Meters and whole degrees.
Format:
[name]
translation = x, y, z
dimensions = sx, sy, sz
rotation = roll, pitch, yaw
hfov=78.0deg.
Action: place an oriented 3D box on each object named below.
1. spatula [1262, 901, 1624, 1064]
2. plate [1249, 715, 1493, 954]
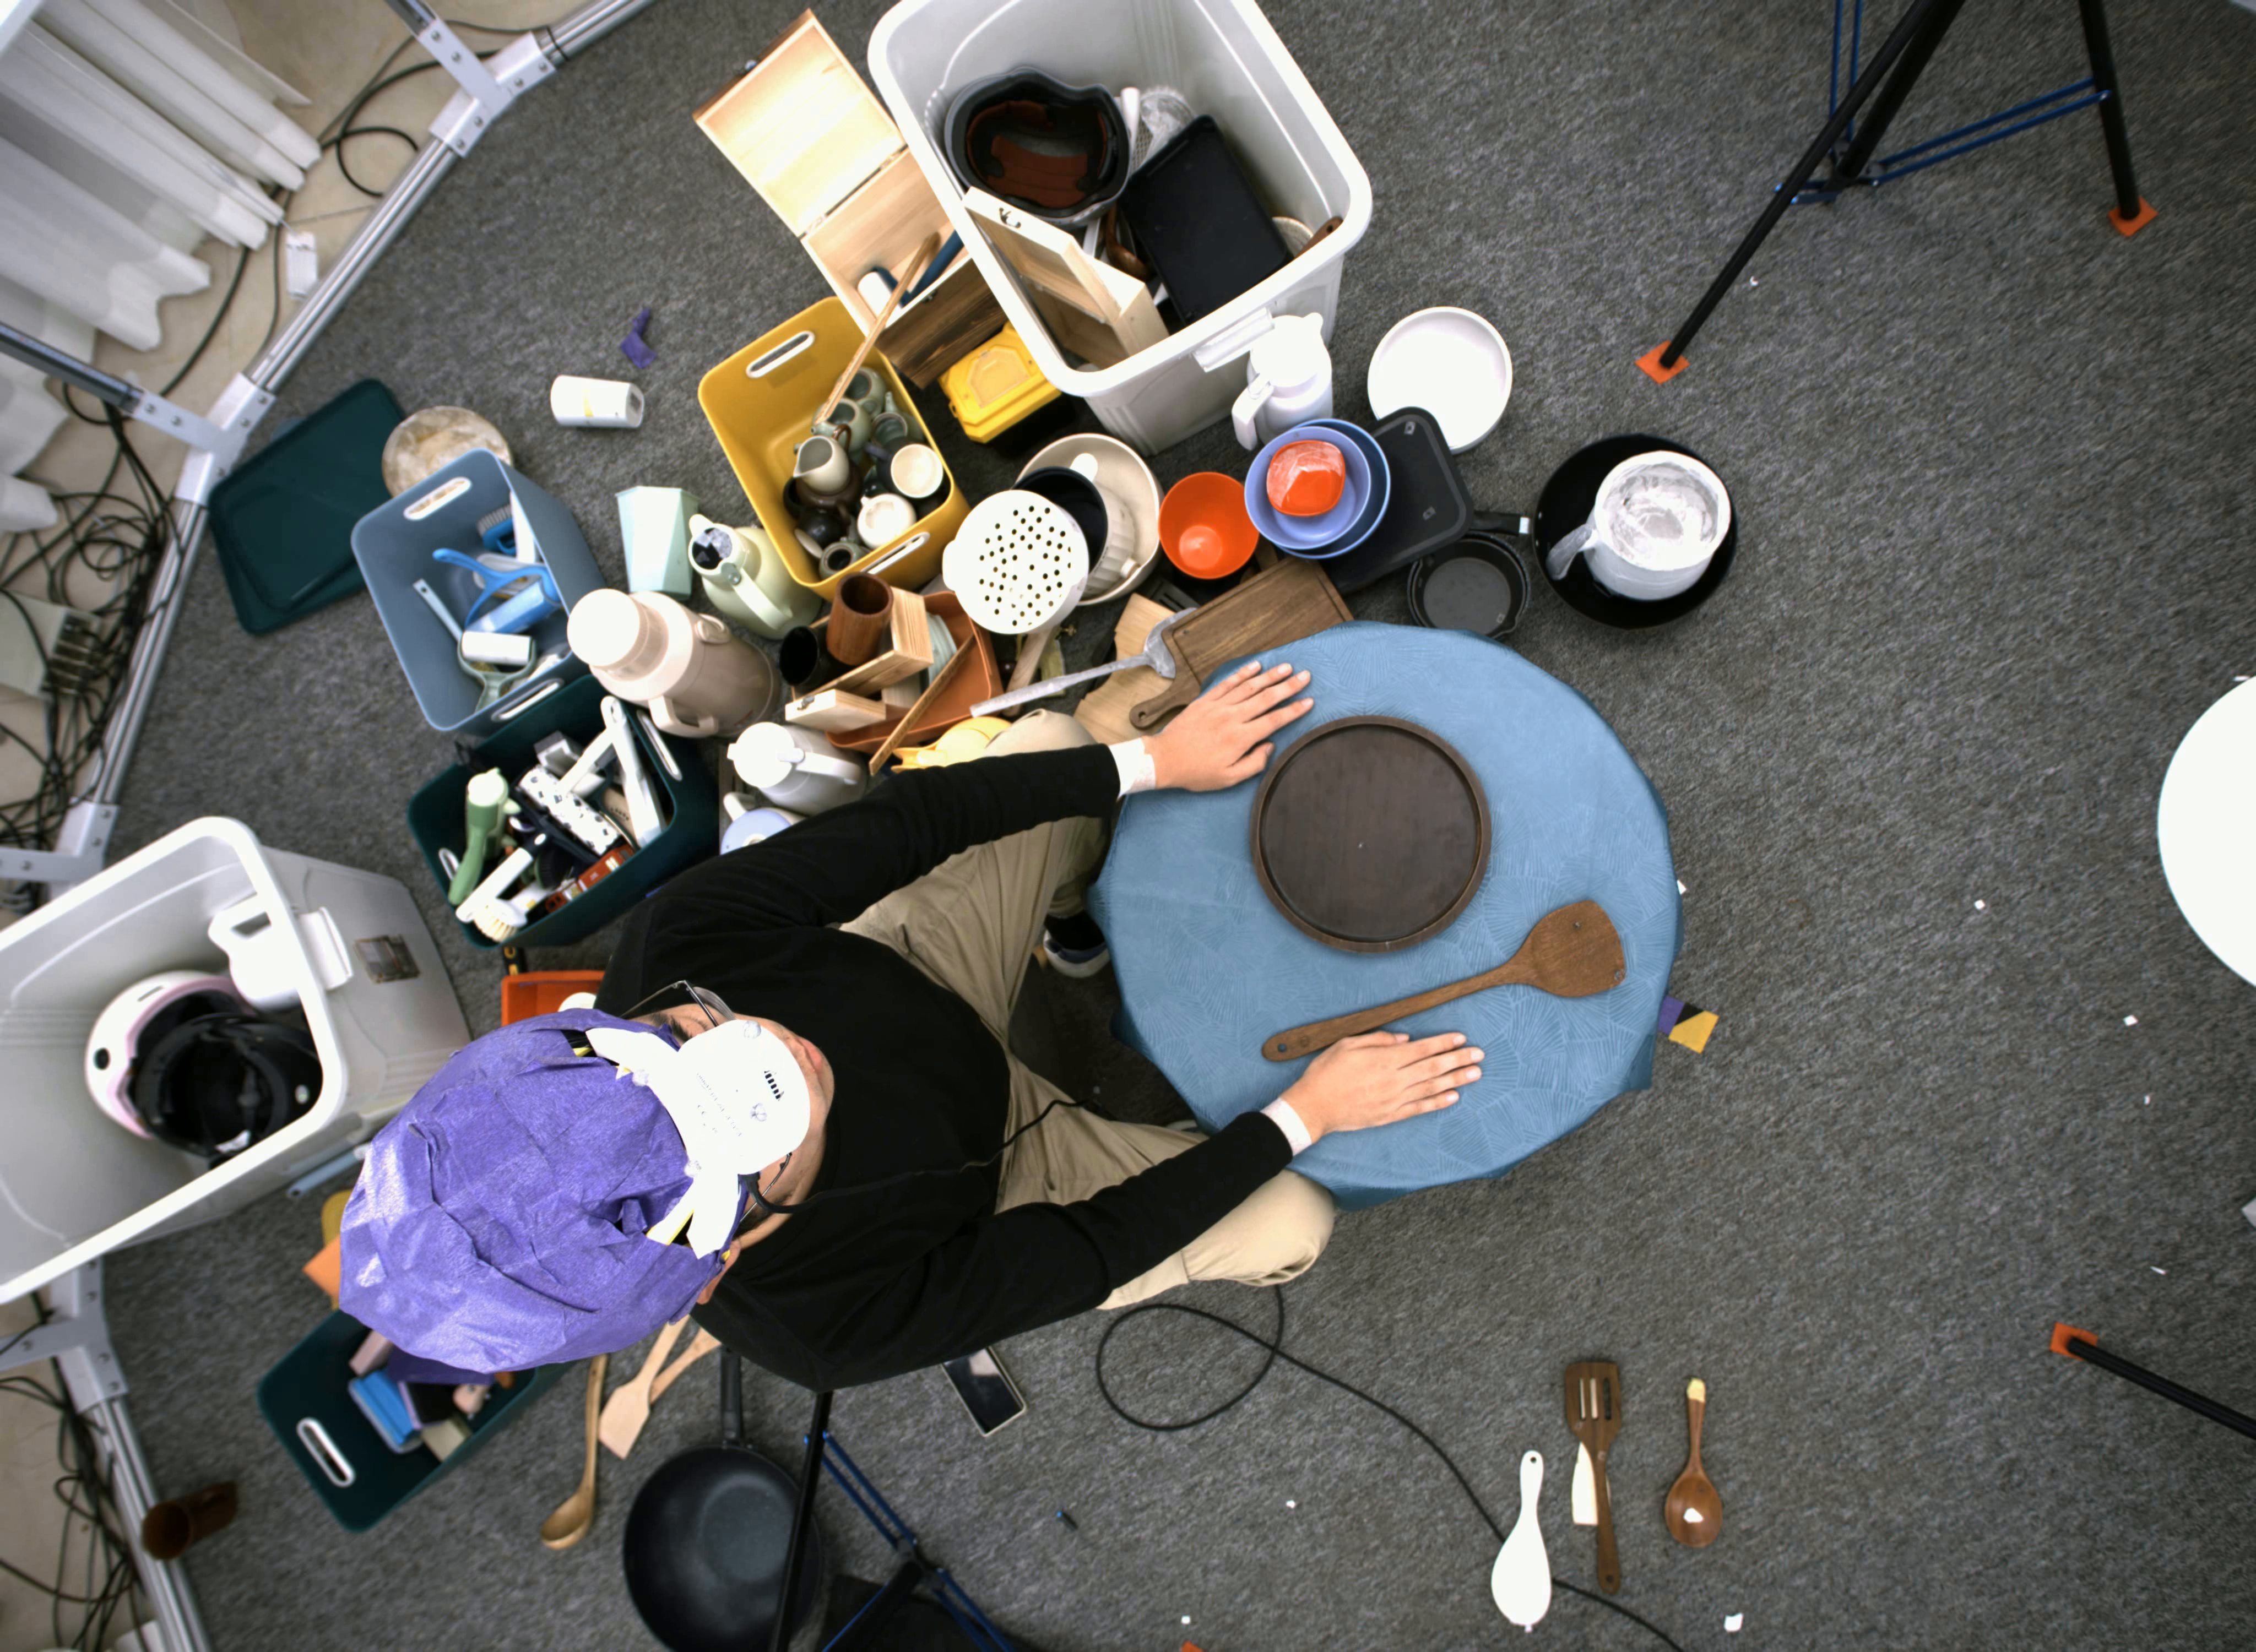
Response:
[spatula]
translation = 0.322, 0.177, 1.437
dimensions = 0.388, 0.016, 0.095
rotation = -20, 83, 9
[plate]
translation = 0.255, 0.007, 1.454
dimensions = 0.256, 0.029, 0.254
rotation = -1, 88, 10
